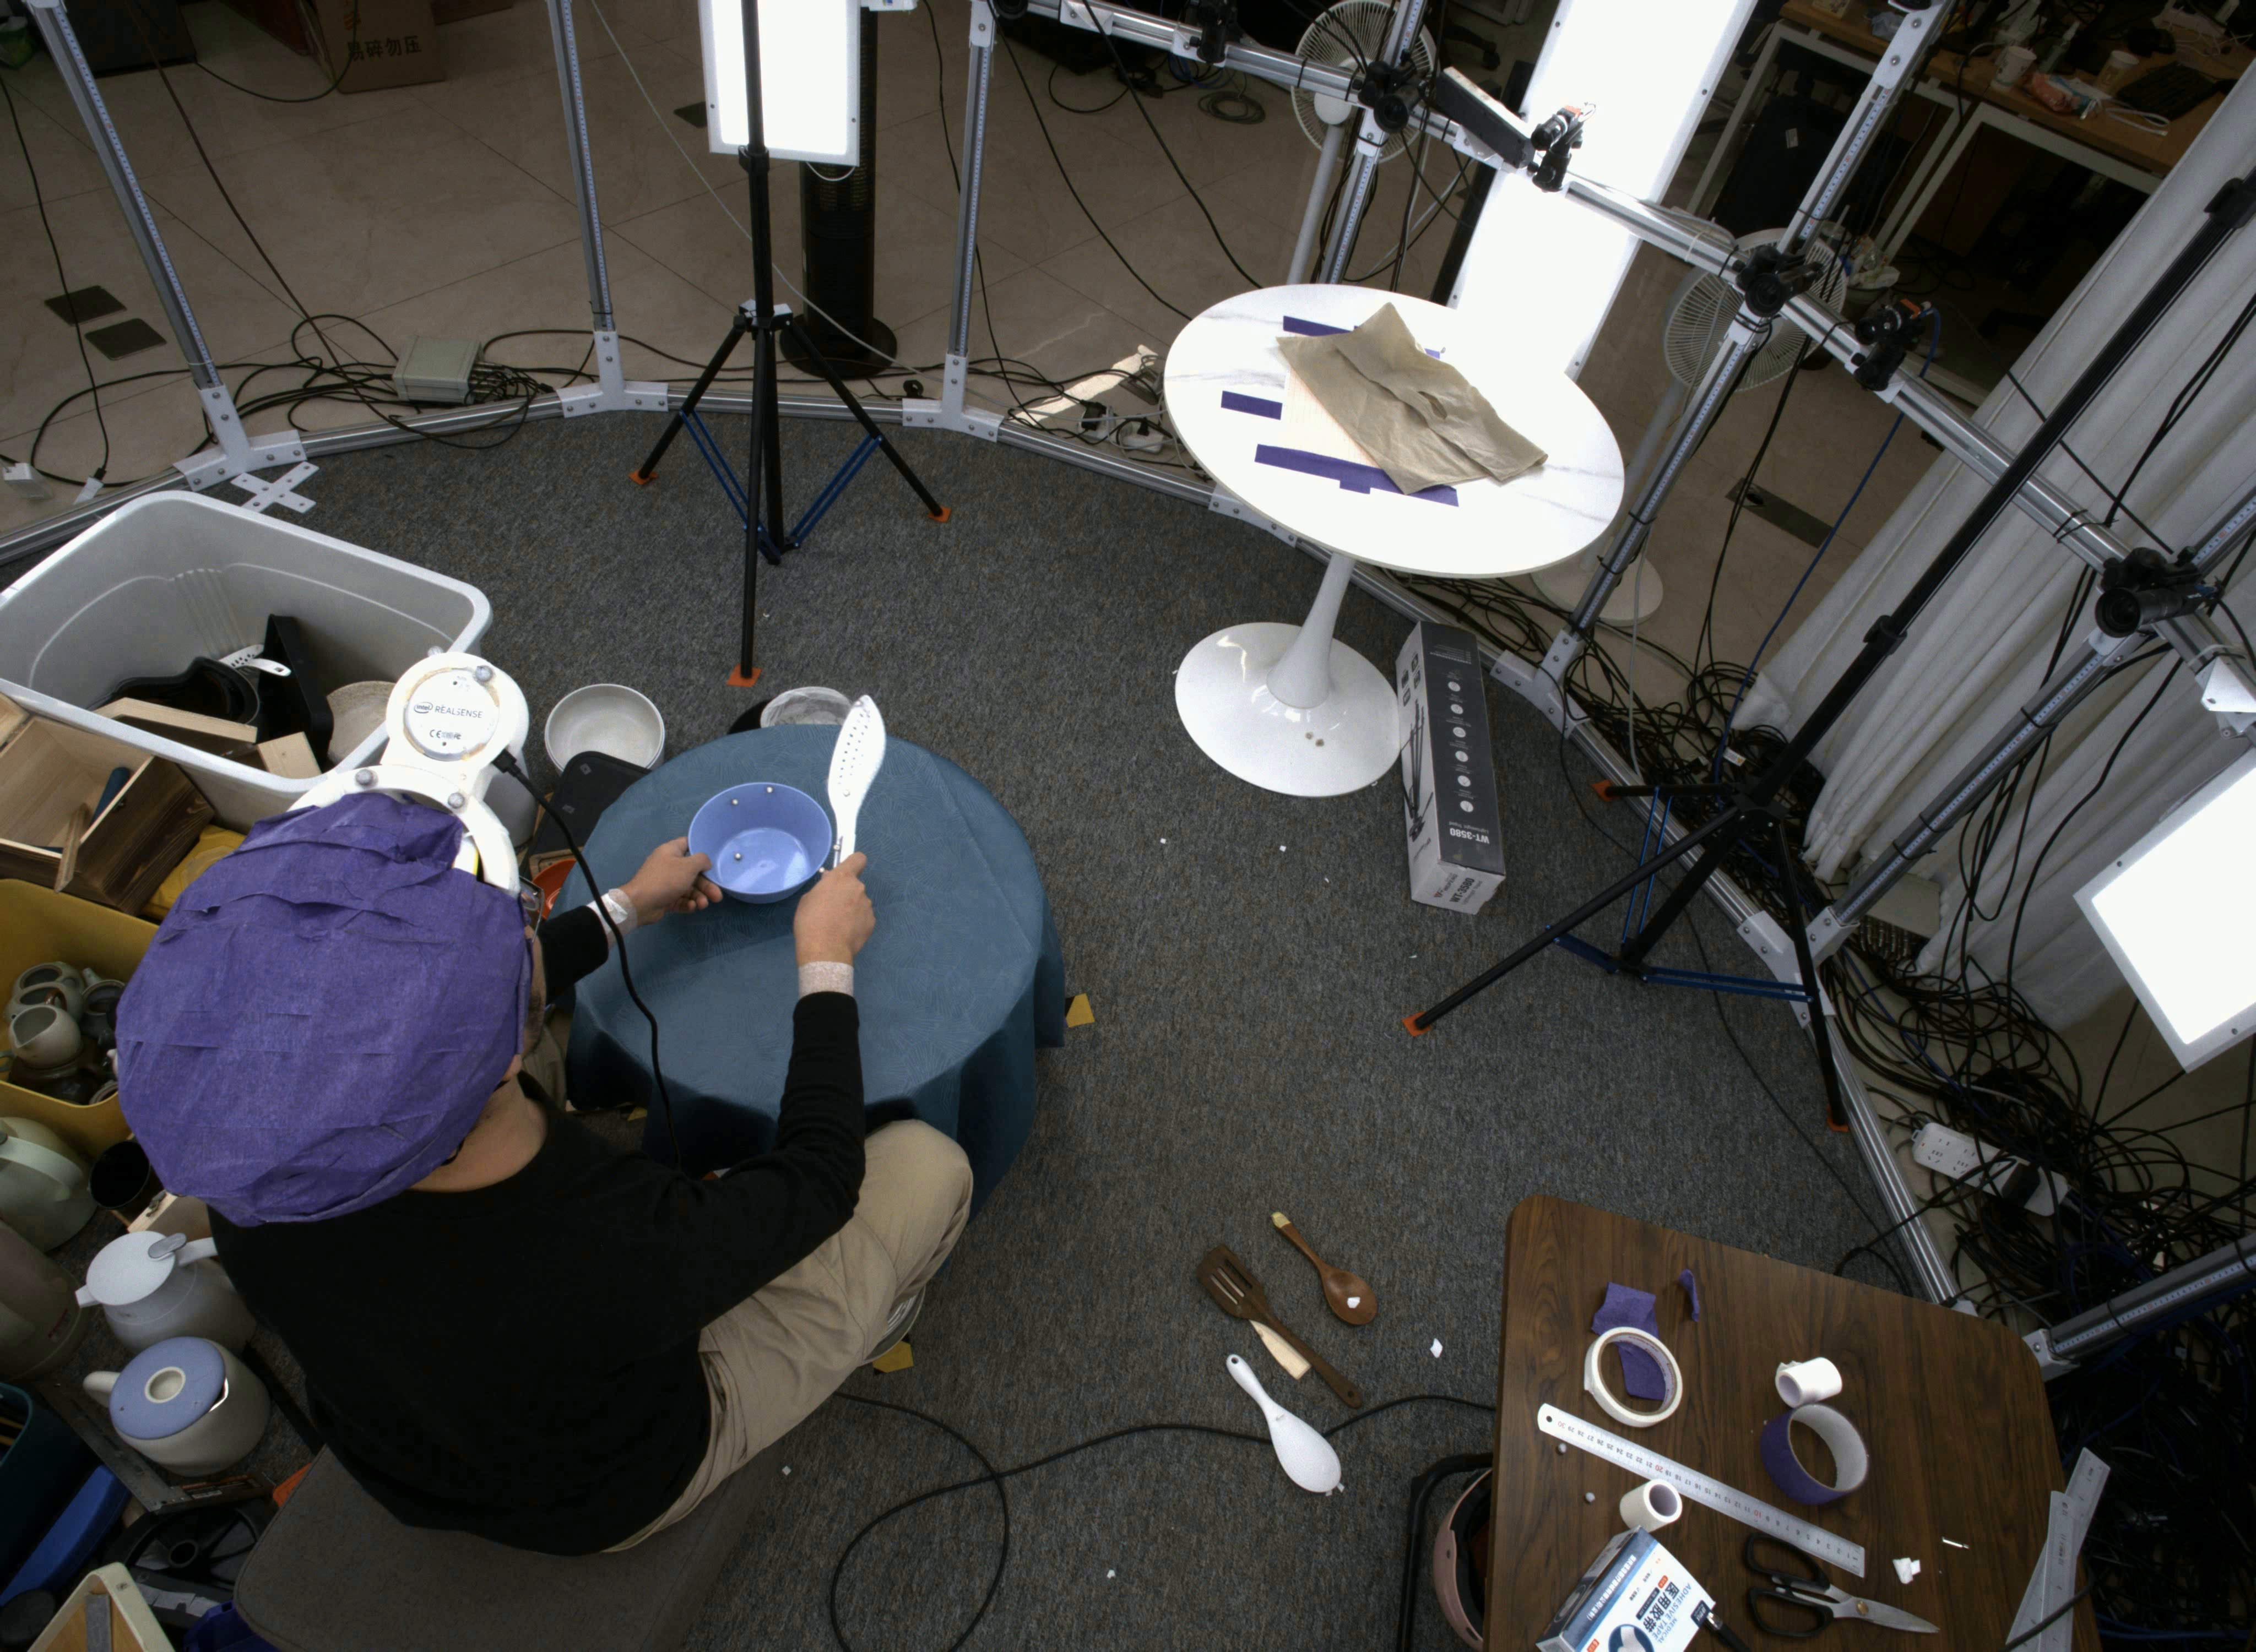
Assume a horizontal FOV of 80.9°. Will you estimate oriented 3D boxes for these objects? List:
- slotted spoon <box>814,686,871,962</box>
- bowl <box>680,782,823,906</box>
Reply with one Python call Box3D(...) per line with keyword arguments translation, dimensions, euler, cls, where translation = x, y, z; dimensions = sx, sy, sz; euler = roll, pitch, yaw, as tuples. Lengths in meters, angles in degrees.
Box3D(translation=(-0.337, -0.007, 1.492), dimensions=(0.046, 0.136, 0.344), euler=(18, 53, -22), cls="slotted spoon")
Box3D(translation=(-0.474, 0.033, 1.636), dimensions=(0.176, 0.071, 0.173), euler=(8, 53, -8), cls="bowl")
